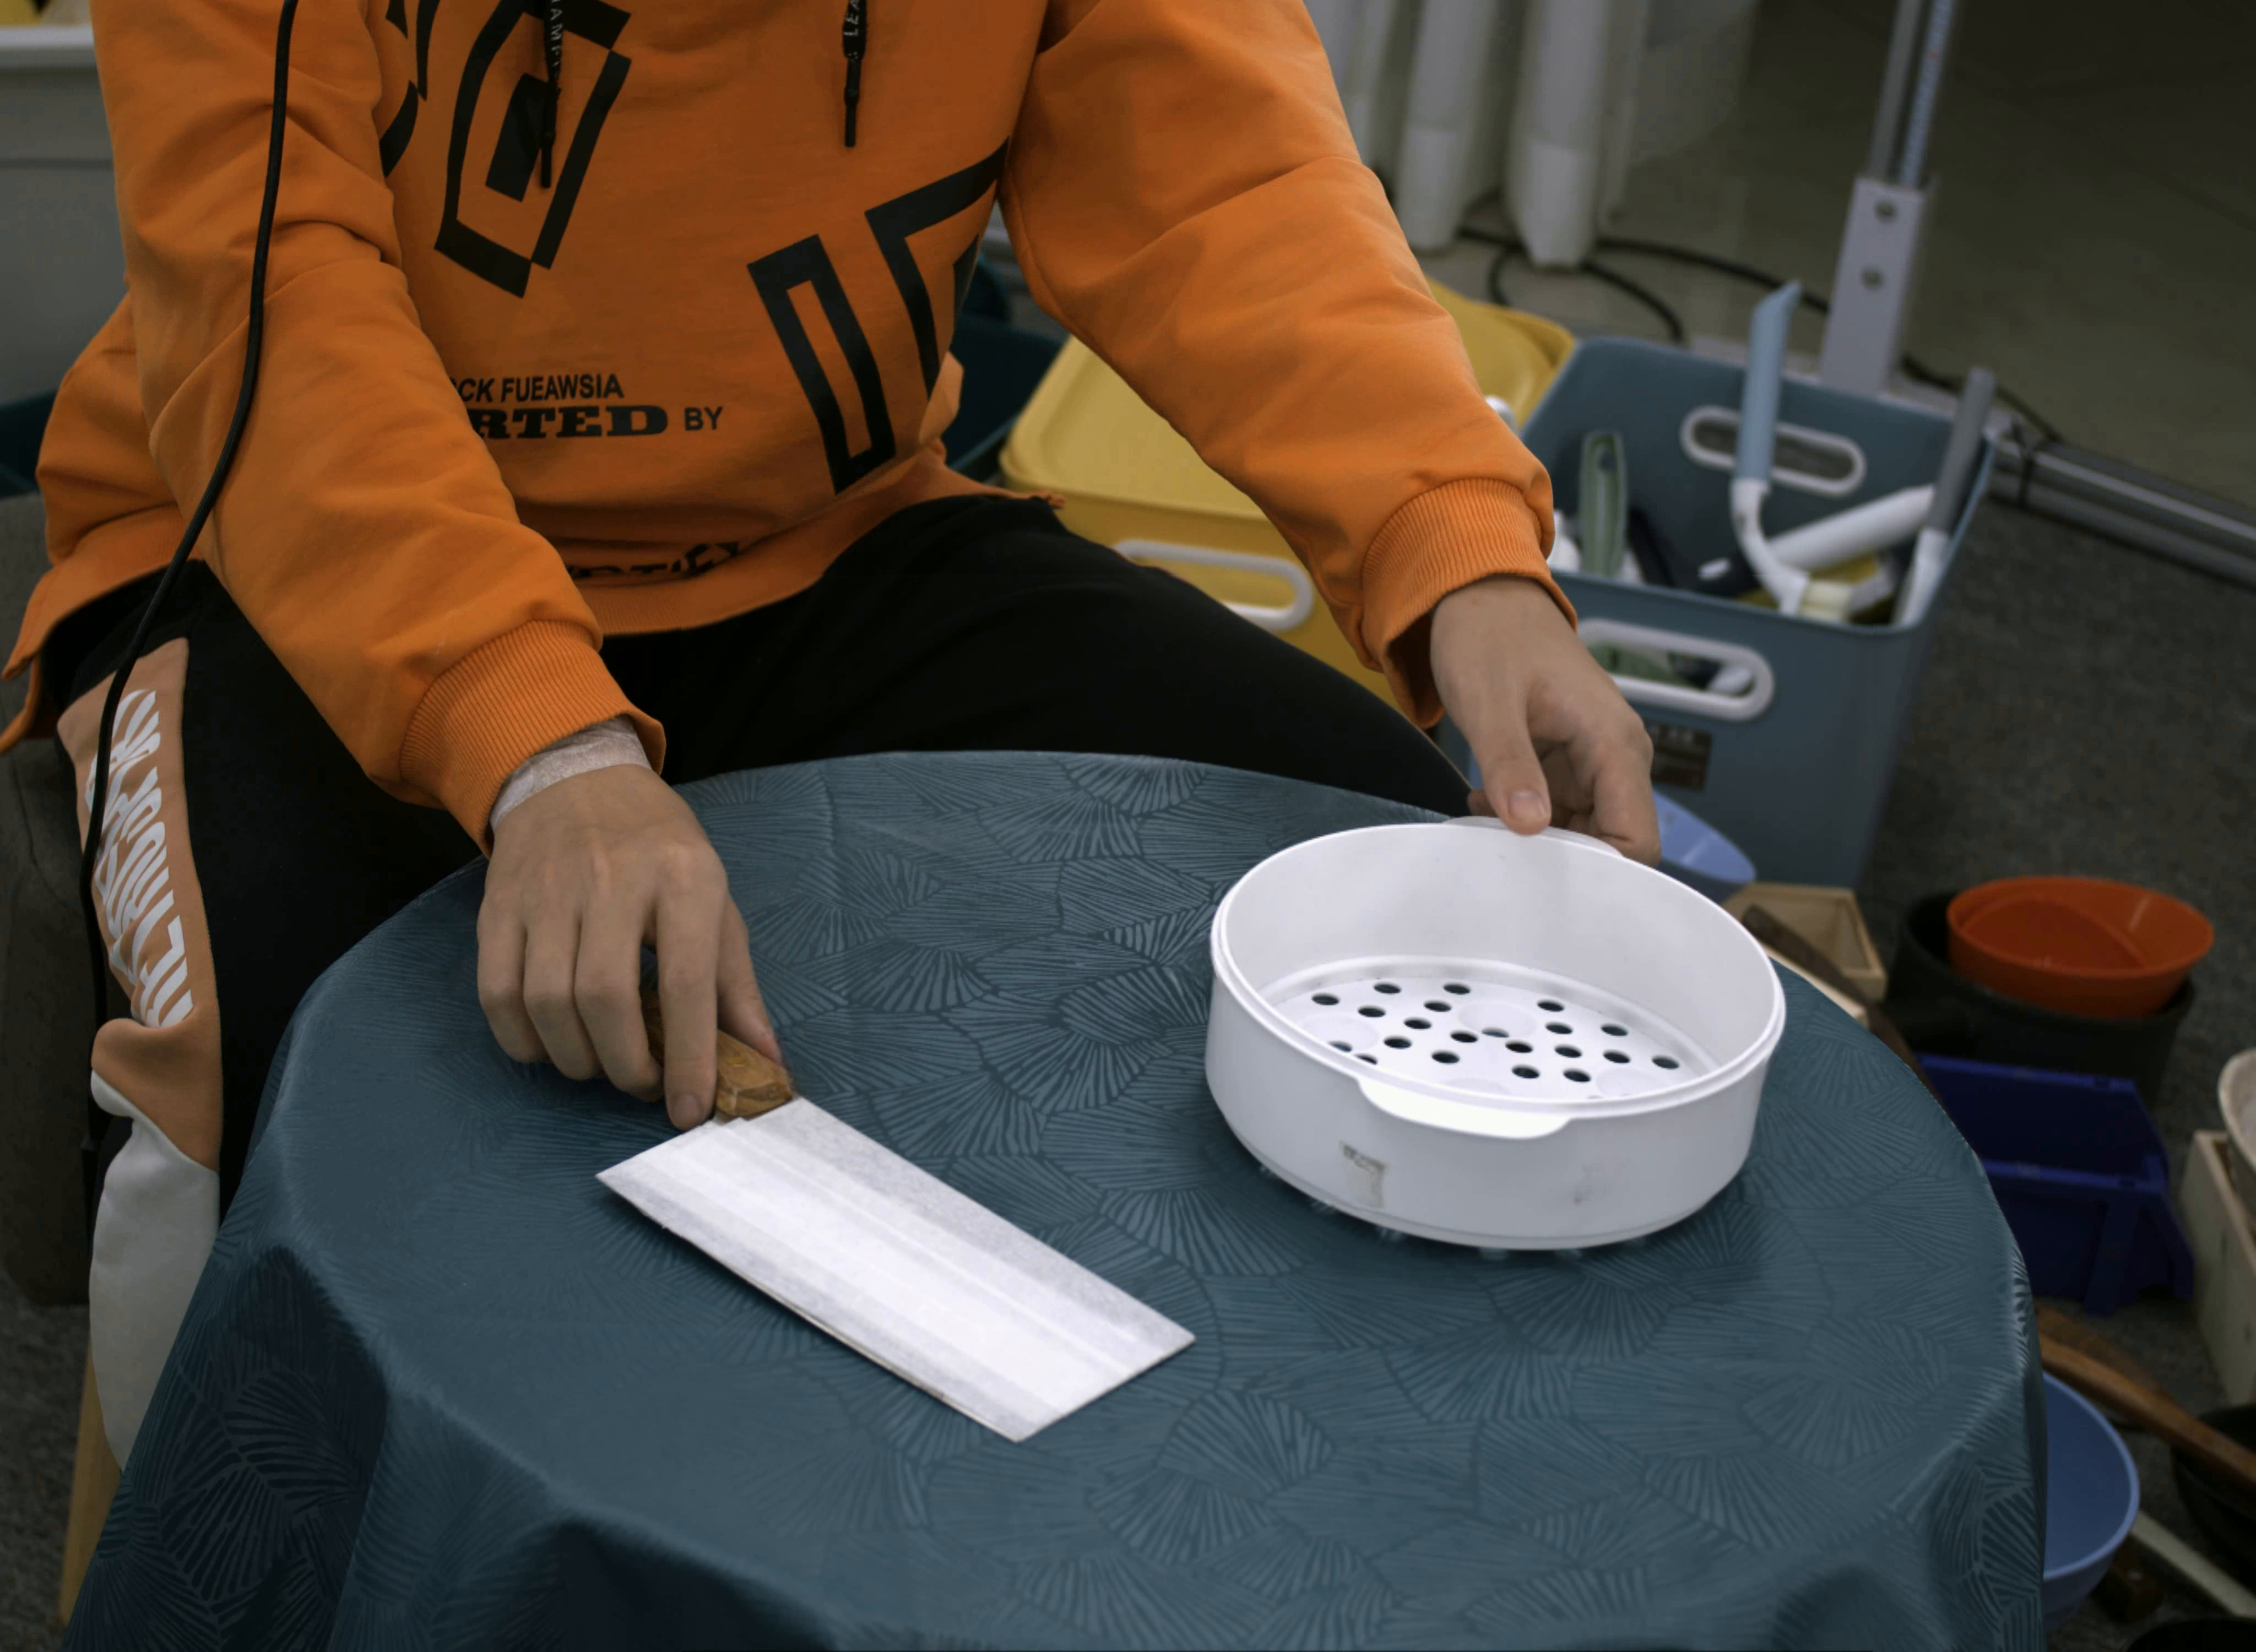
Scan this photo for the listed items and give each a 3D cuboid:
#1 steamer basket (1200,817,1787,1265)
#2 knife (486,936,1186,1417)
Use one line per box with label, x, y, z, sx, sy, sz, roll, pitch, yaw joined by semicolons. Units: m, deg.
steamer basket;0.125;0.076;1.848;0.202;0.069;0.231;9;29;7
knife;-0.119;0.117;1.772;0.308;0.021;0.092;29;36;32
